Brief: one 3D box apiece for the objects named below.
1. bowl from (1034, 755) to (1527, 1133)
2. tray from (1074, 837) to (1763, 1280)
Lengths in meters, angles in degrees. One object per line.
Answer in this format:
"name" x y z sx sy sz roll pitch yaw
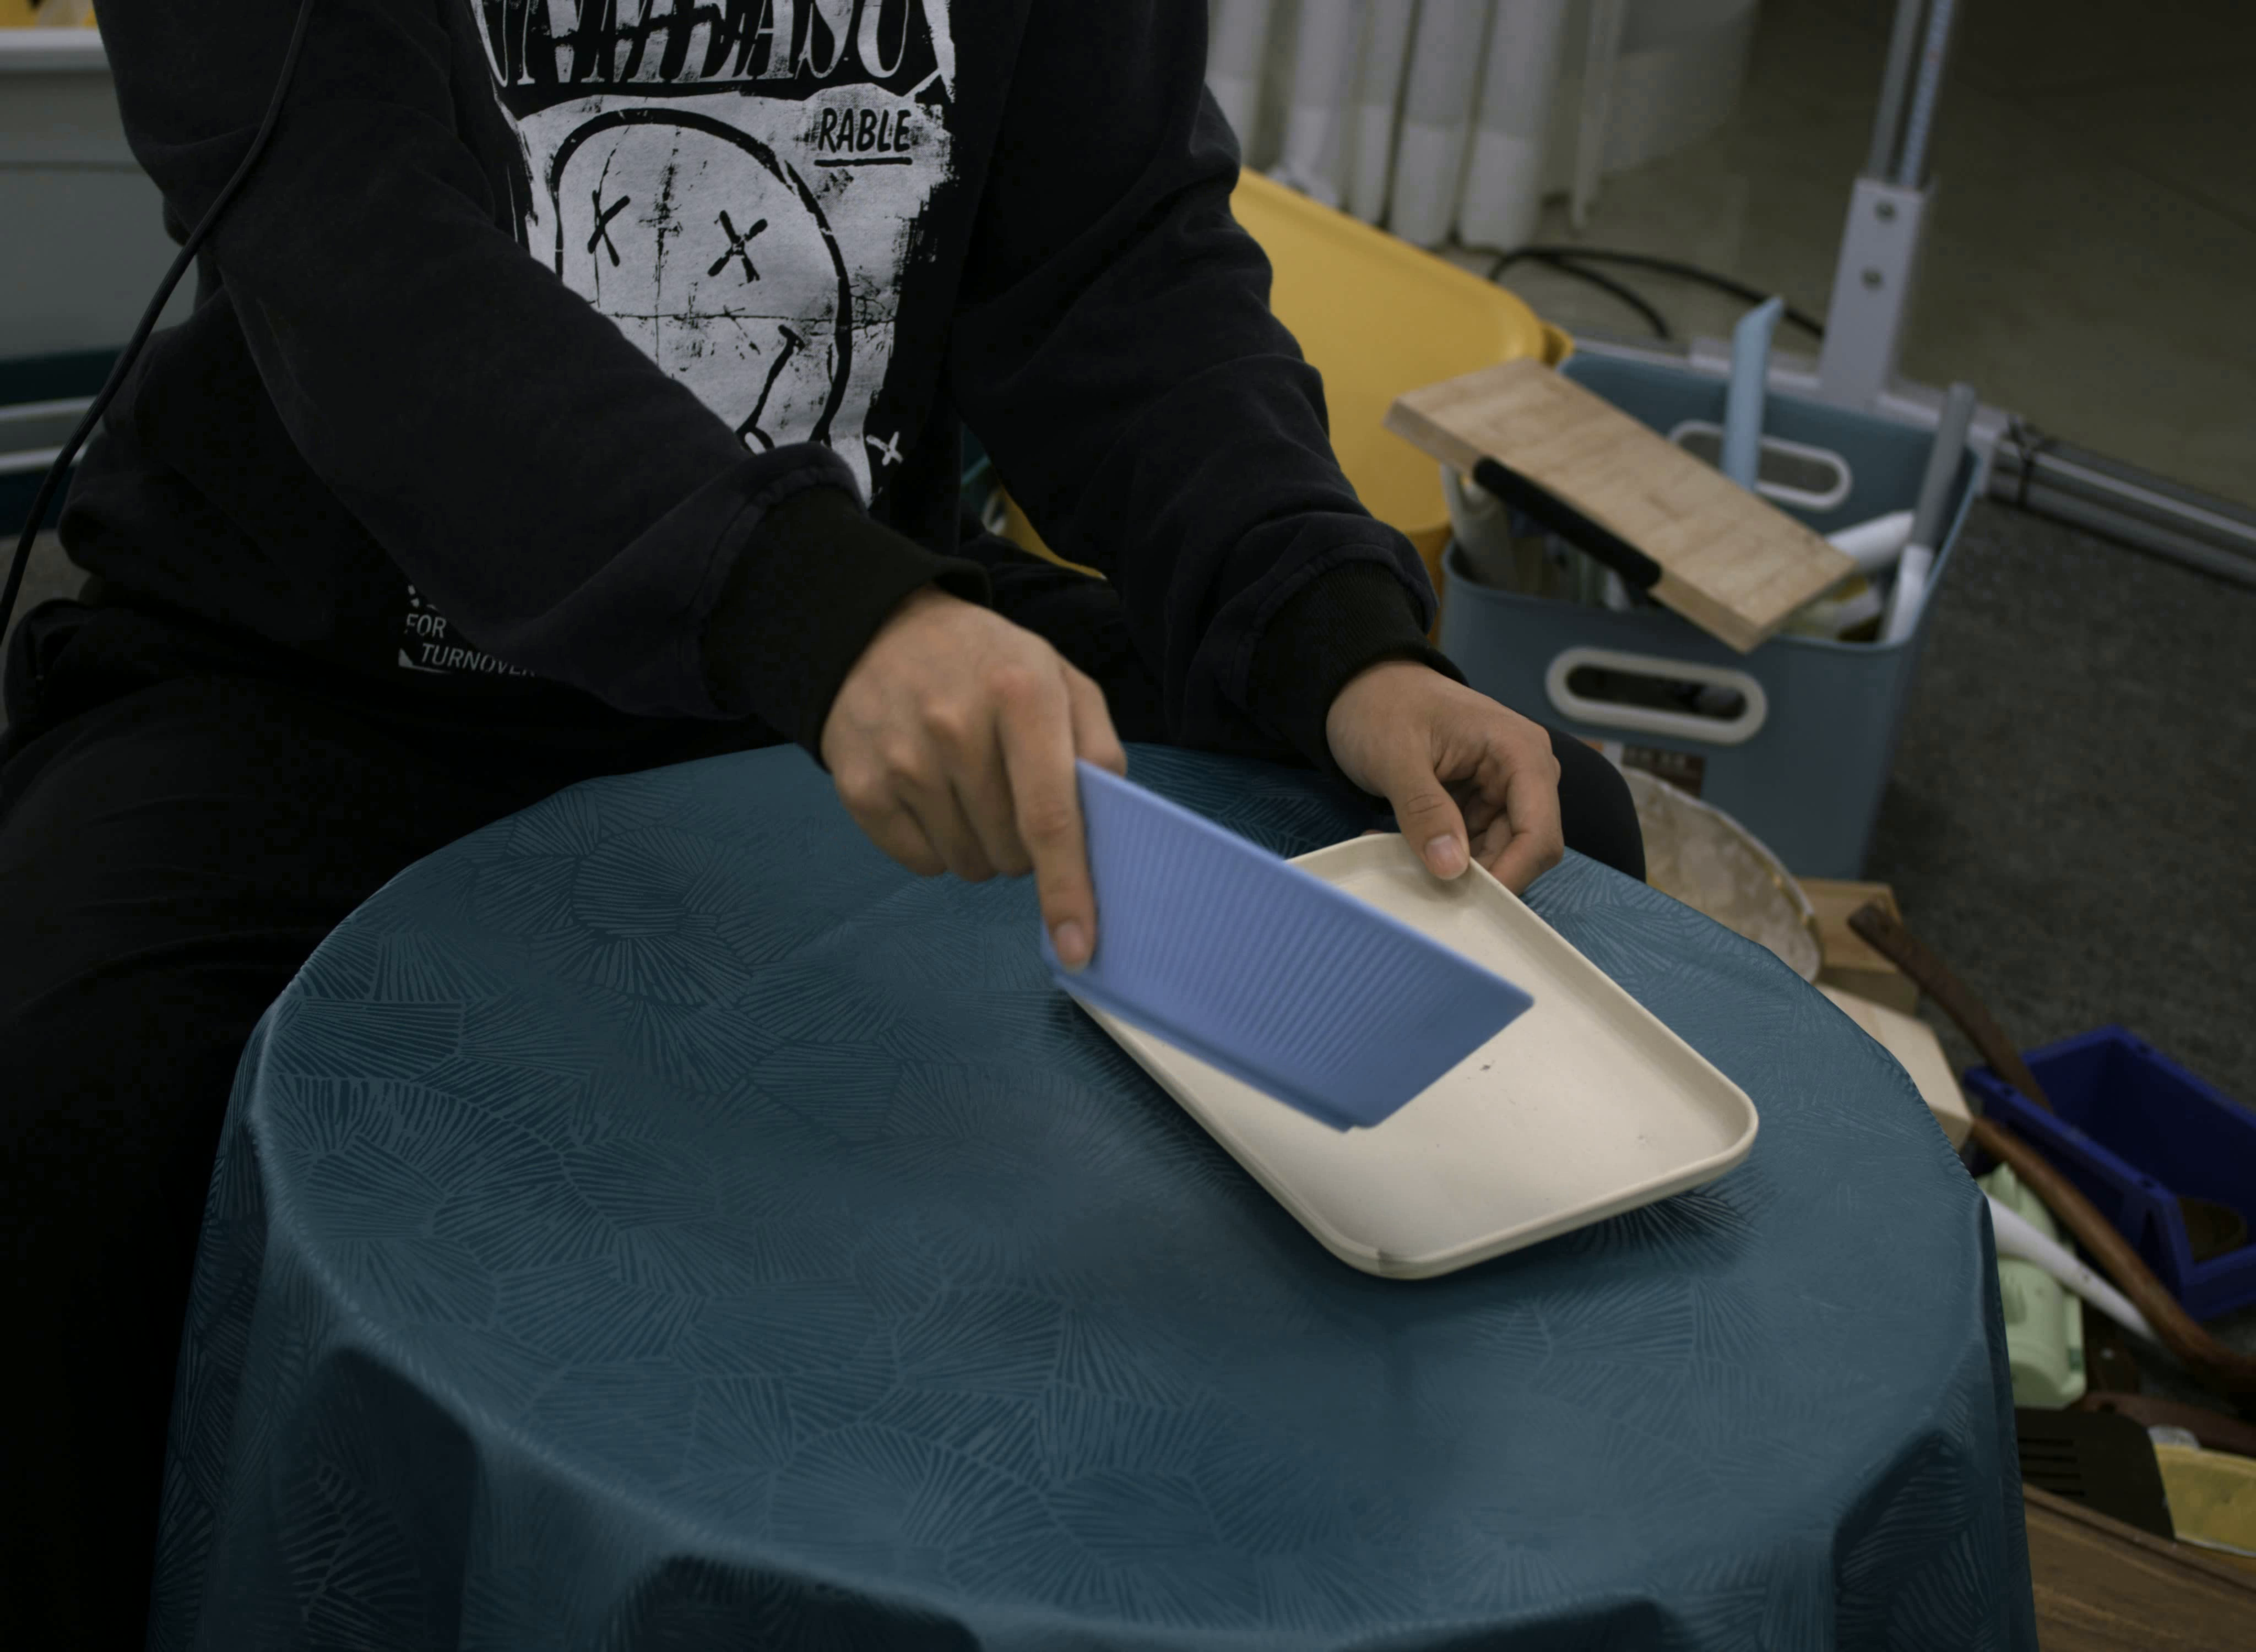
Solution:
"bowl" 0.036 0.045 1.713 0.176 0.070 0.176 27 -2 1
"tray" 0.097 0.080 1.868 0.170 0.017 0.242 -15 34 -25
